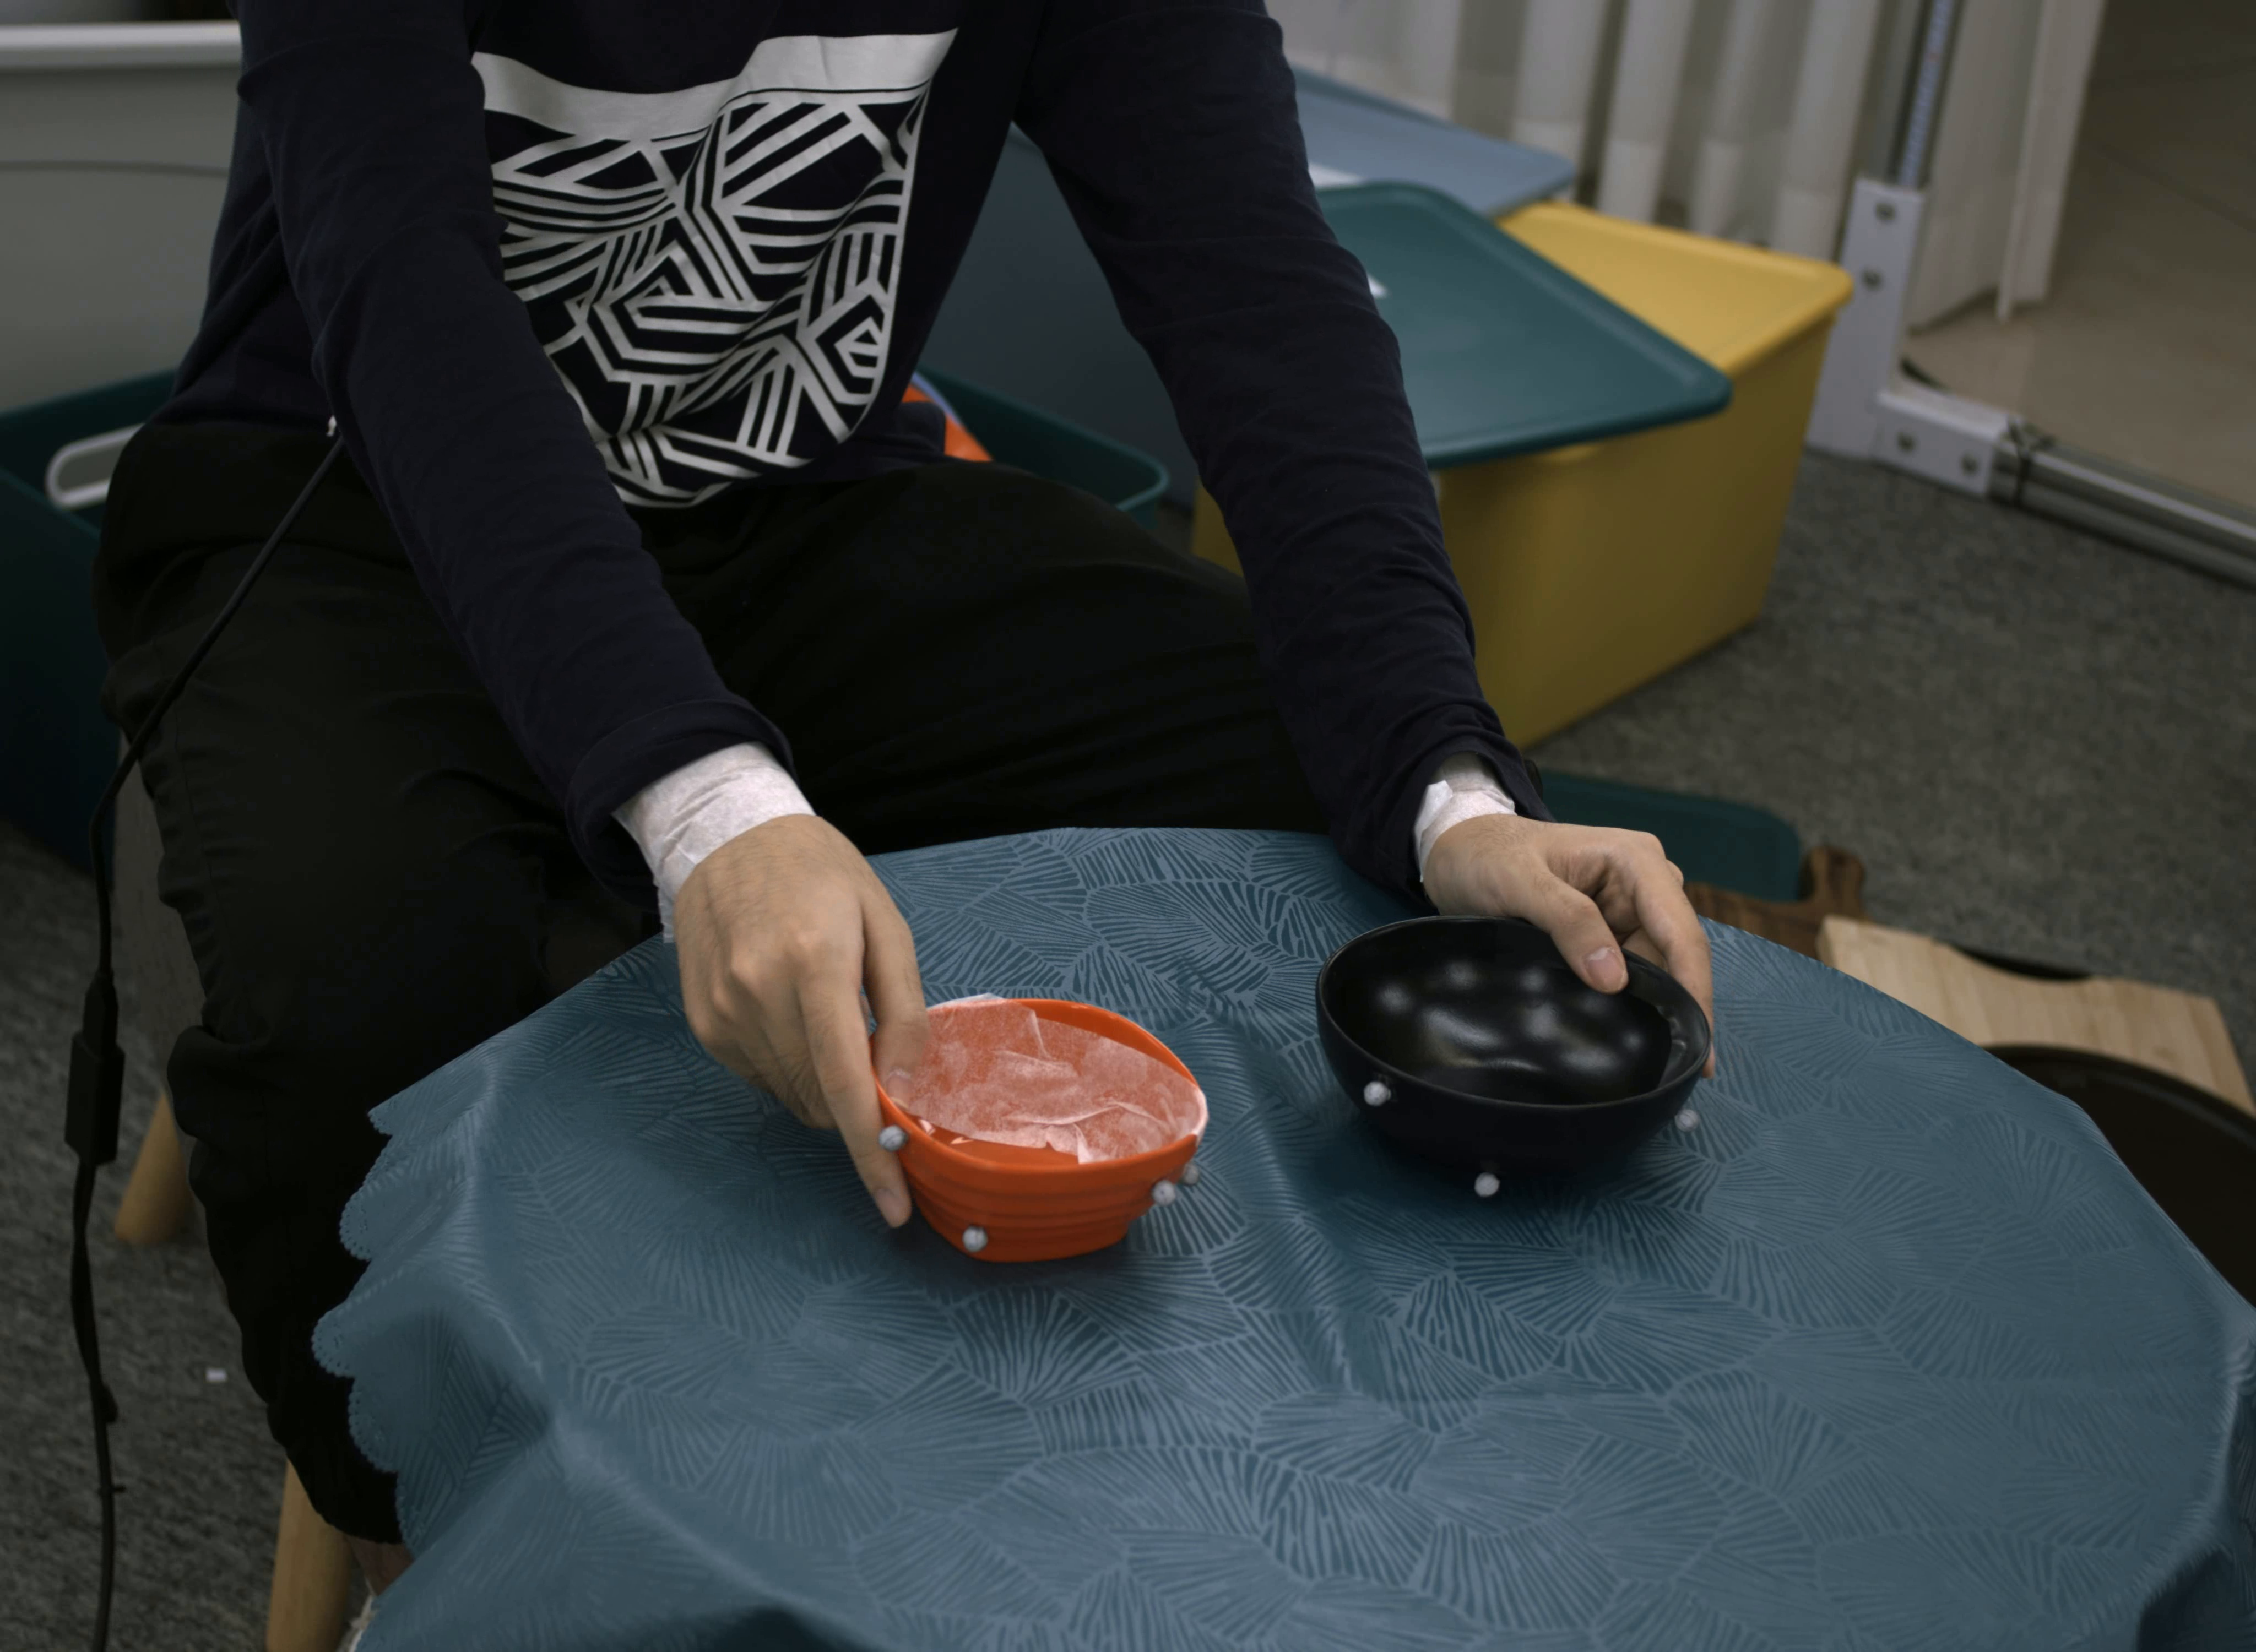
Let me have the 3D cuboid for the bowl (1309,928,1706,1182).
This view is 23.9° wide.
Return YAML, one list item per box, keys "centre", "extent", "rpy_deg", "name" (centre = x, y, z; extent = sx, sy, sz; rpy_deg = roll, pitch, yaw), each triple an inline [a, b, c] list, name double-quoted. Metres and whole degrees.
- centre: [0.130, 0.087, 1.859]
  extent: [0.139, 0.049, 0.141]
  rpy_deg: [4, 23, -2]
  name: "bowl"

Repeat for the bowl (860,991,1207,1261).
- centre: [-0.034, 0.105, 1.777]
  extent: [0.118, 0.051, 0.119]
  rpy_deg: [5, 29, -3]
  name: "bowl"
